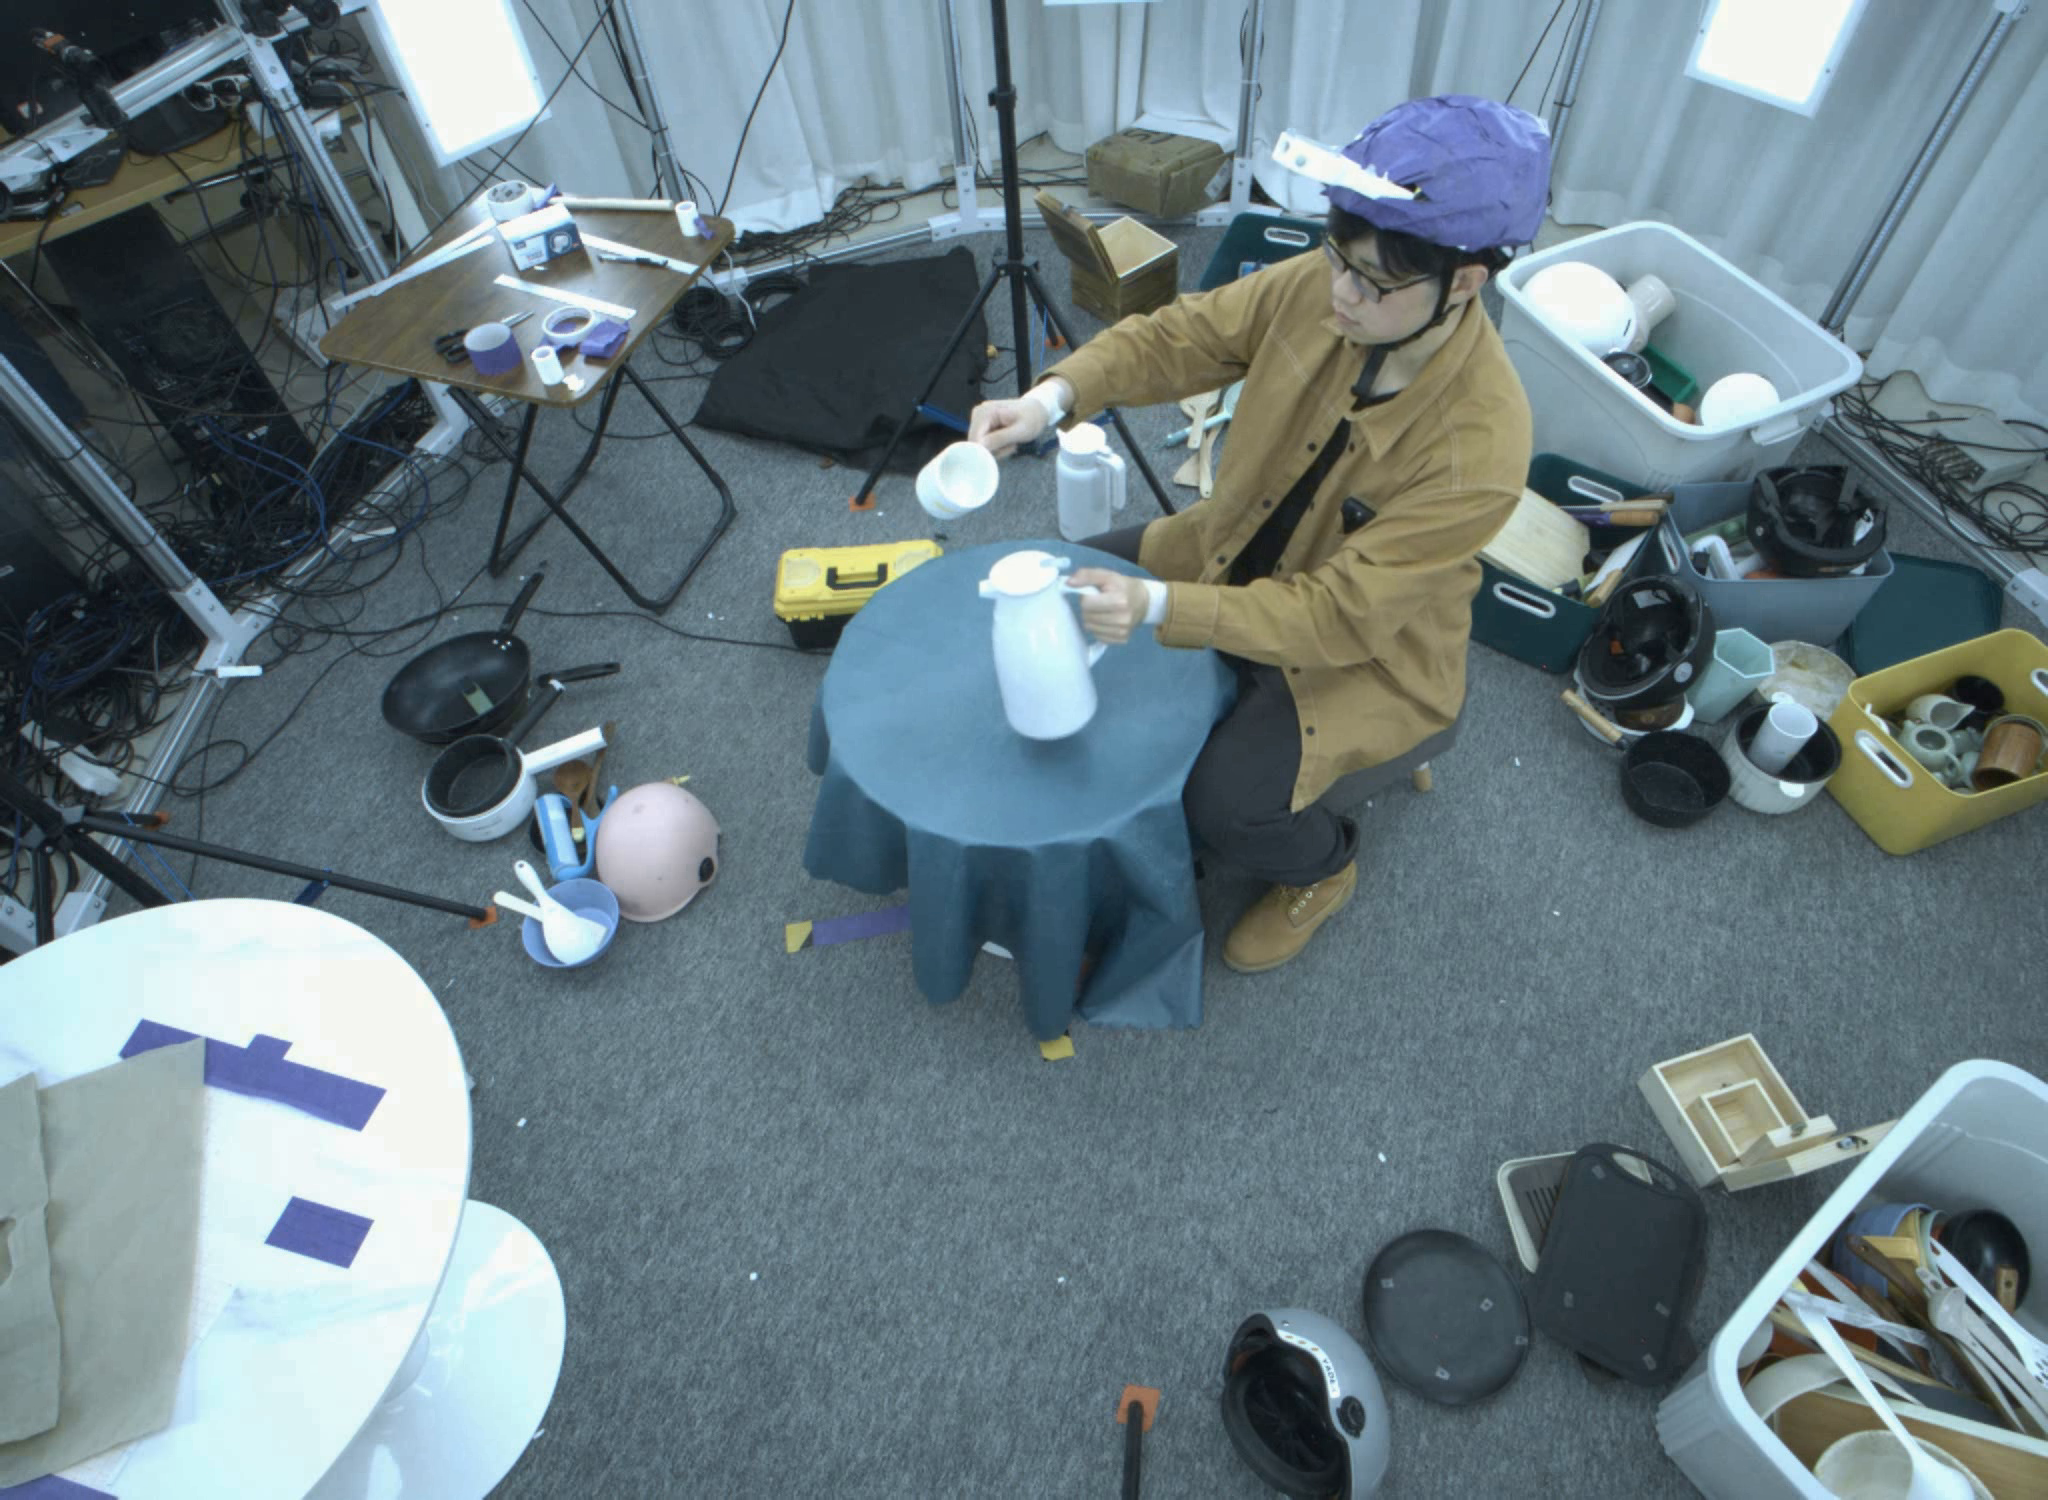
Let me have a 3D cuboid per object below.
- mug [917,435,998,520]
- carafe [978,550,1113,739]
[{"bbox_3d":[-0.084,-0.369,1.623,0.086,0.100,0.118,35,77,-18],"label":"mug"},{"bbox_3d":[0.037,-0.150,1.651,0.167,0.252,0.131,-8,44,4],"label":"carafe"}]
